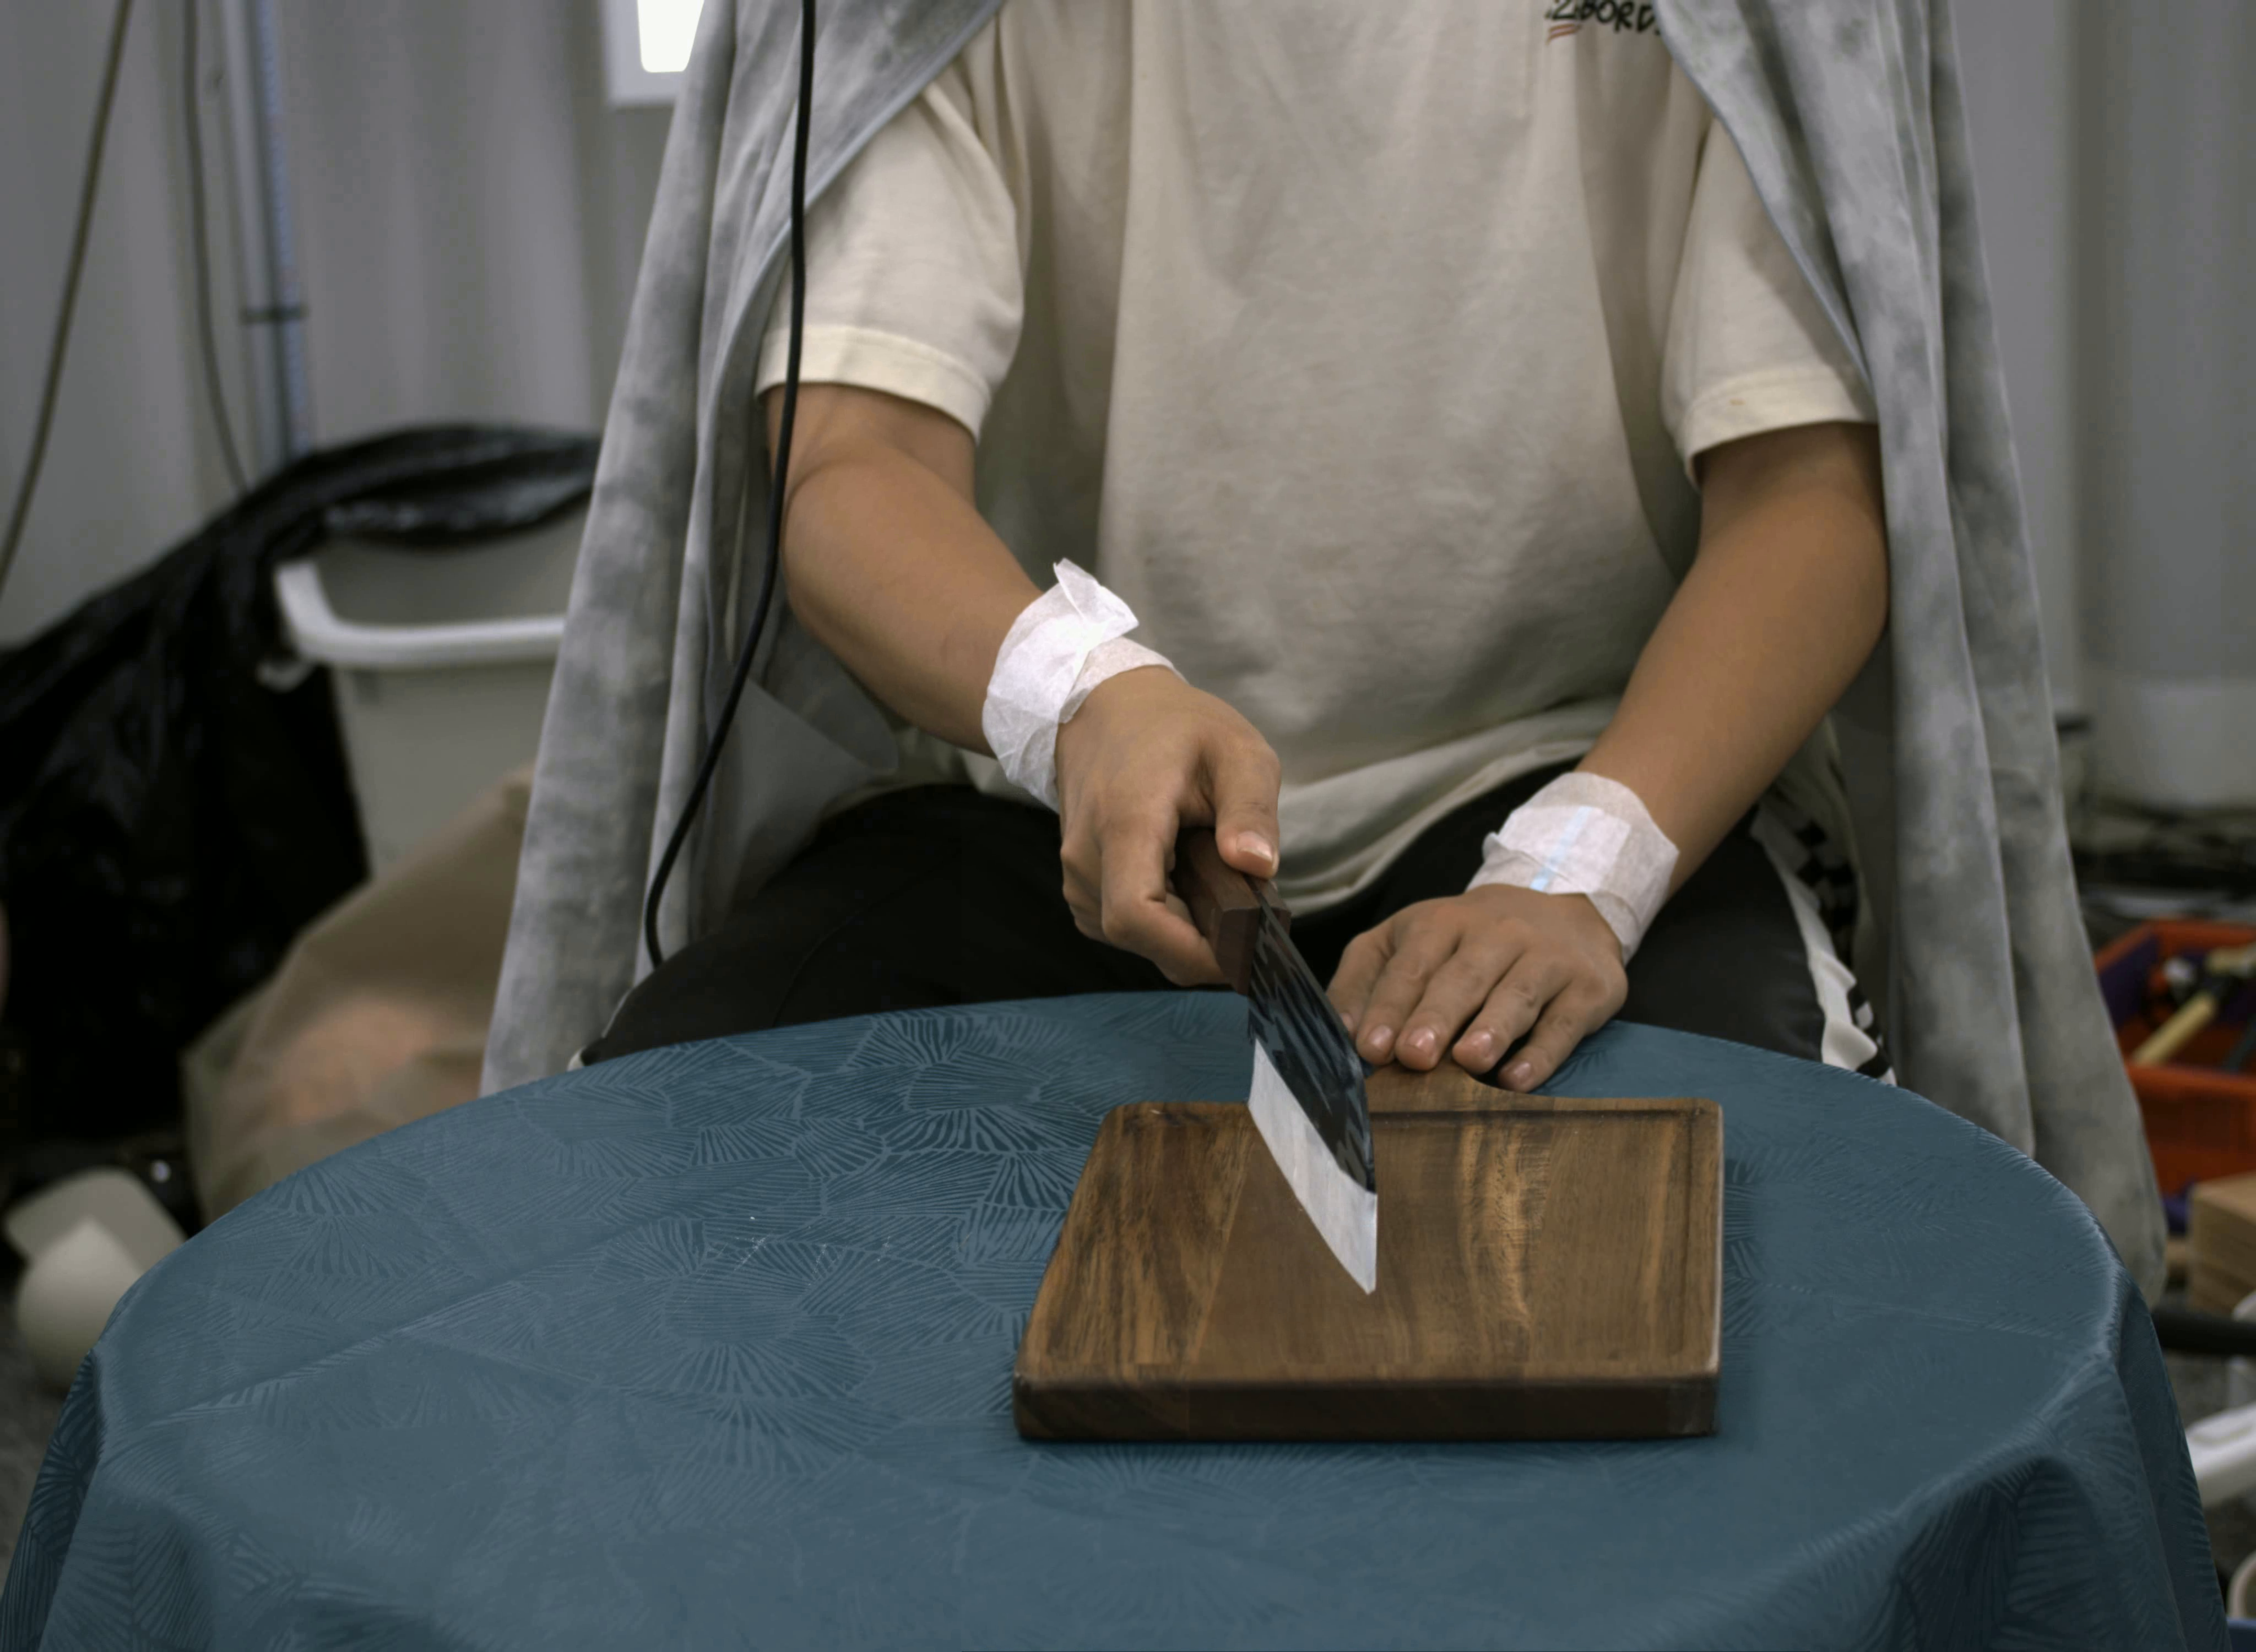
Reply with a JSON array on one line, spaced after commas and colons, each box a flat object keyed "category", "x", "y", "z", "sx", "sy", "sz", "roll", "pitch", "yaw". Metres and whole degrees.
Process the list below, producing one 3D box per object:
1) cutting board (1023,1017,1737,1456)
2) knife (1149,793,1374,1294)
[{"category": "cutting board", "x": 0.083, "y": 0.117, "z": 1.664, "sx": 0.200, "sy": 0.023, "sz": 0.354, "roll": -3, "pitch": 14, "yaw": 7}, {"category": "knife", "x": 0.043, "y": 0.063, "z": 1.690, "sx": 0.024, "sy": 0.068, "sz": 0.302, "roll": 2, "pitch": 19, "yaw": -12}]
